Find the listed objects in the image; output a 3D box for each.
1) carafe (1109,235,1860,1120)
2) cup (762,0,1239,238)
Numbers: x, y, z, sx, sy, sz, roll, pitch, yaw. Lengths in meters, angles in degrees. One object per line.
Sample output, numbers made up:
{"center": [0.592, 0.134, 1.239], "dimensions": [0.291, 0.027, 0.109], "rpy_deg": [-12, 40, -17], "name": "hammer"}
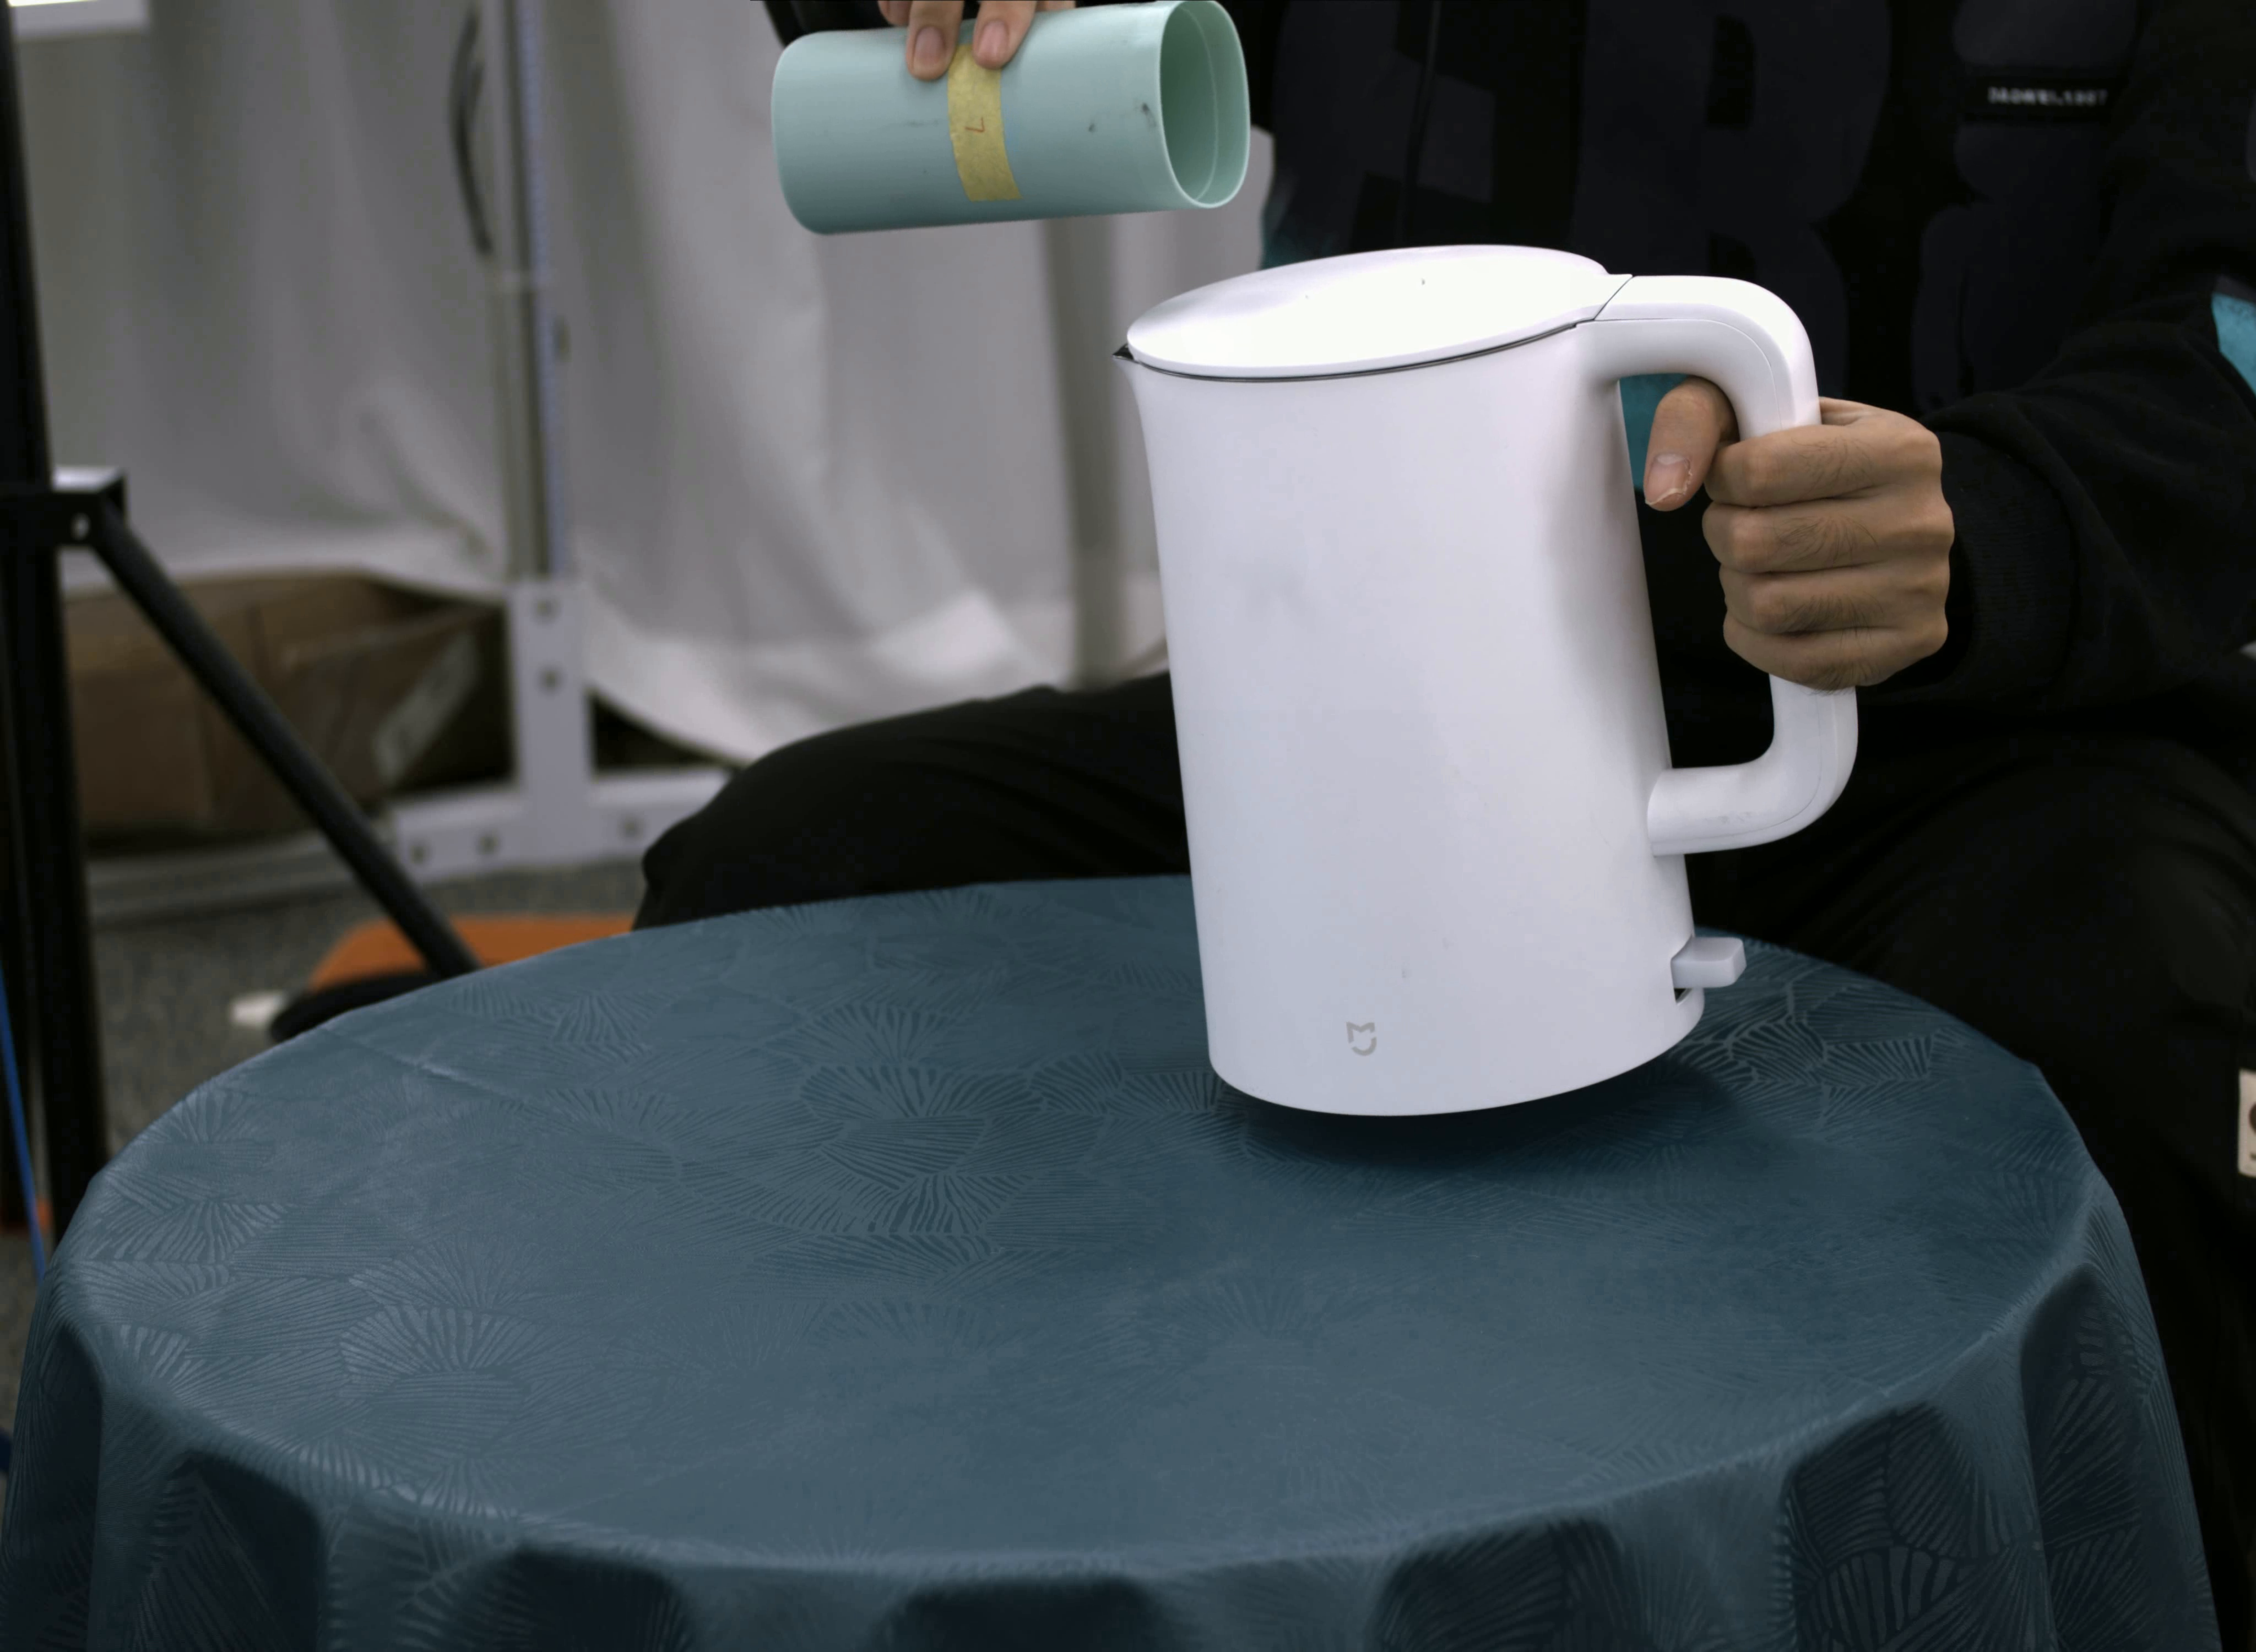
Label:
{"center": [0.110, -0.046, 1.579], "dimensions": [0.216, 0.239, 0.150], "rpy_deg": [-2, 18, 24], "name": "carafe"}
{"center": [-0.037, -0.212, 1.600], "dimensions": [0.134, 0.067, 0.065], "rpy_deg": [-3, 13, 30], "name": "cup"}
